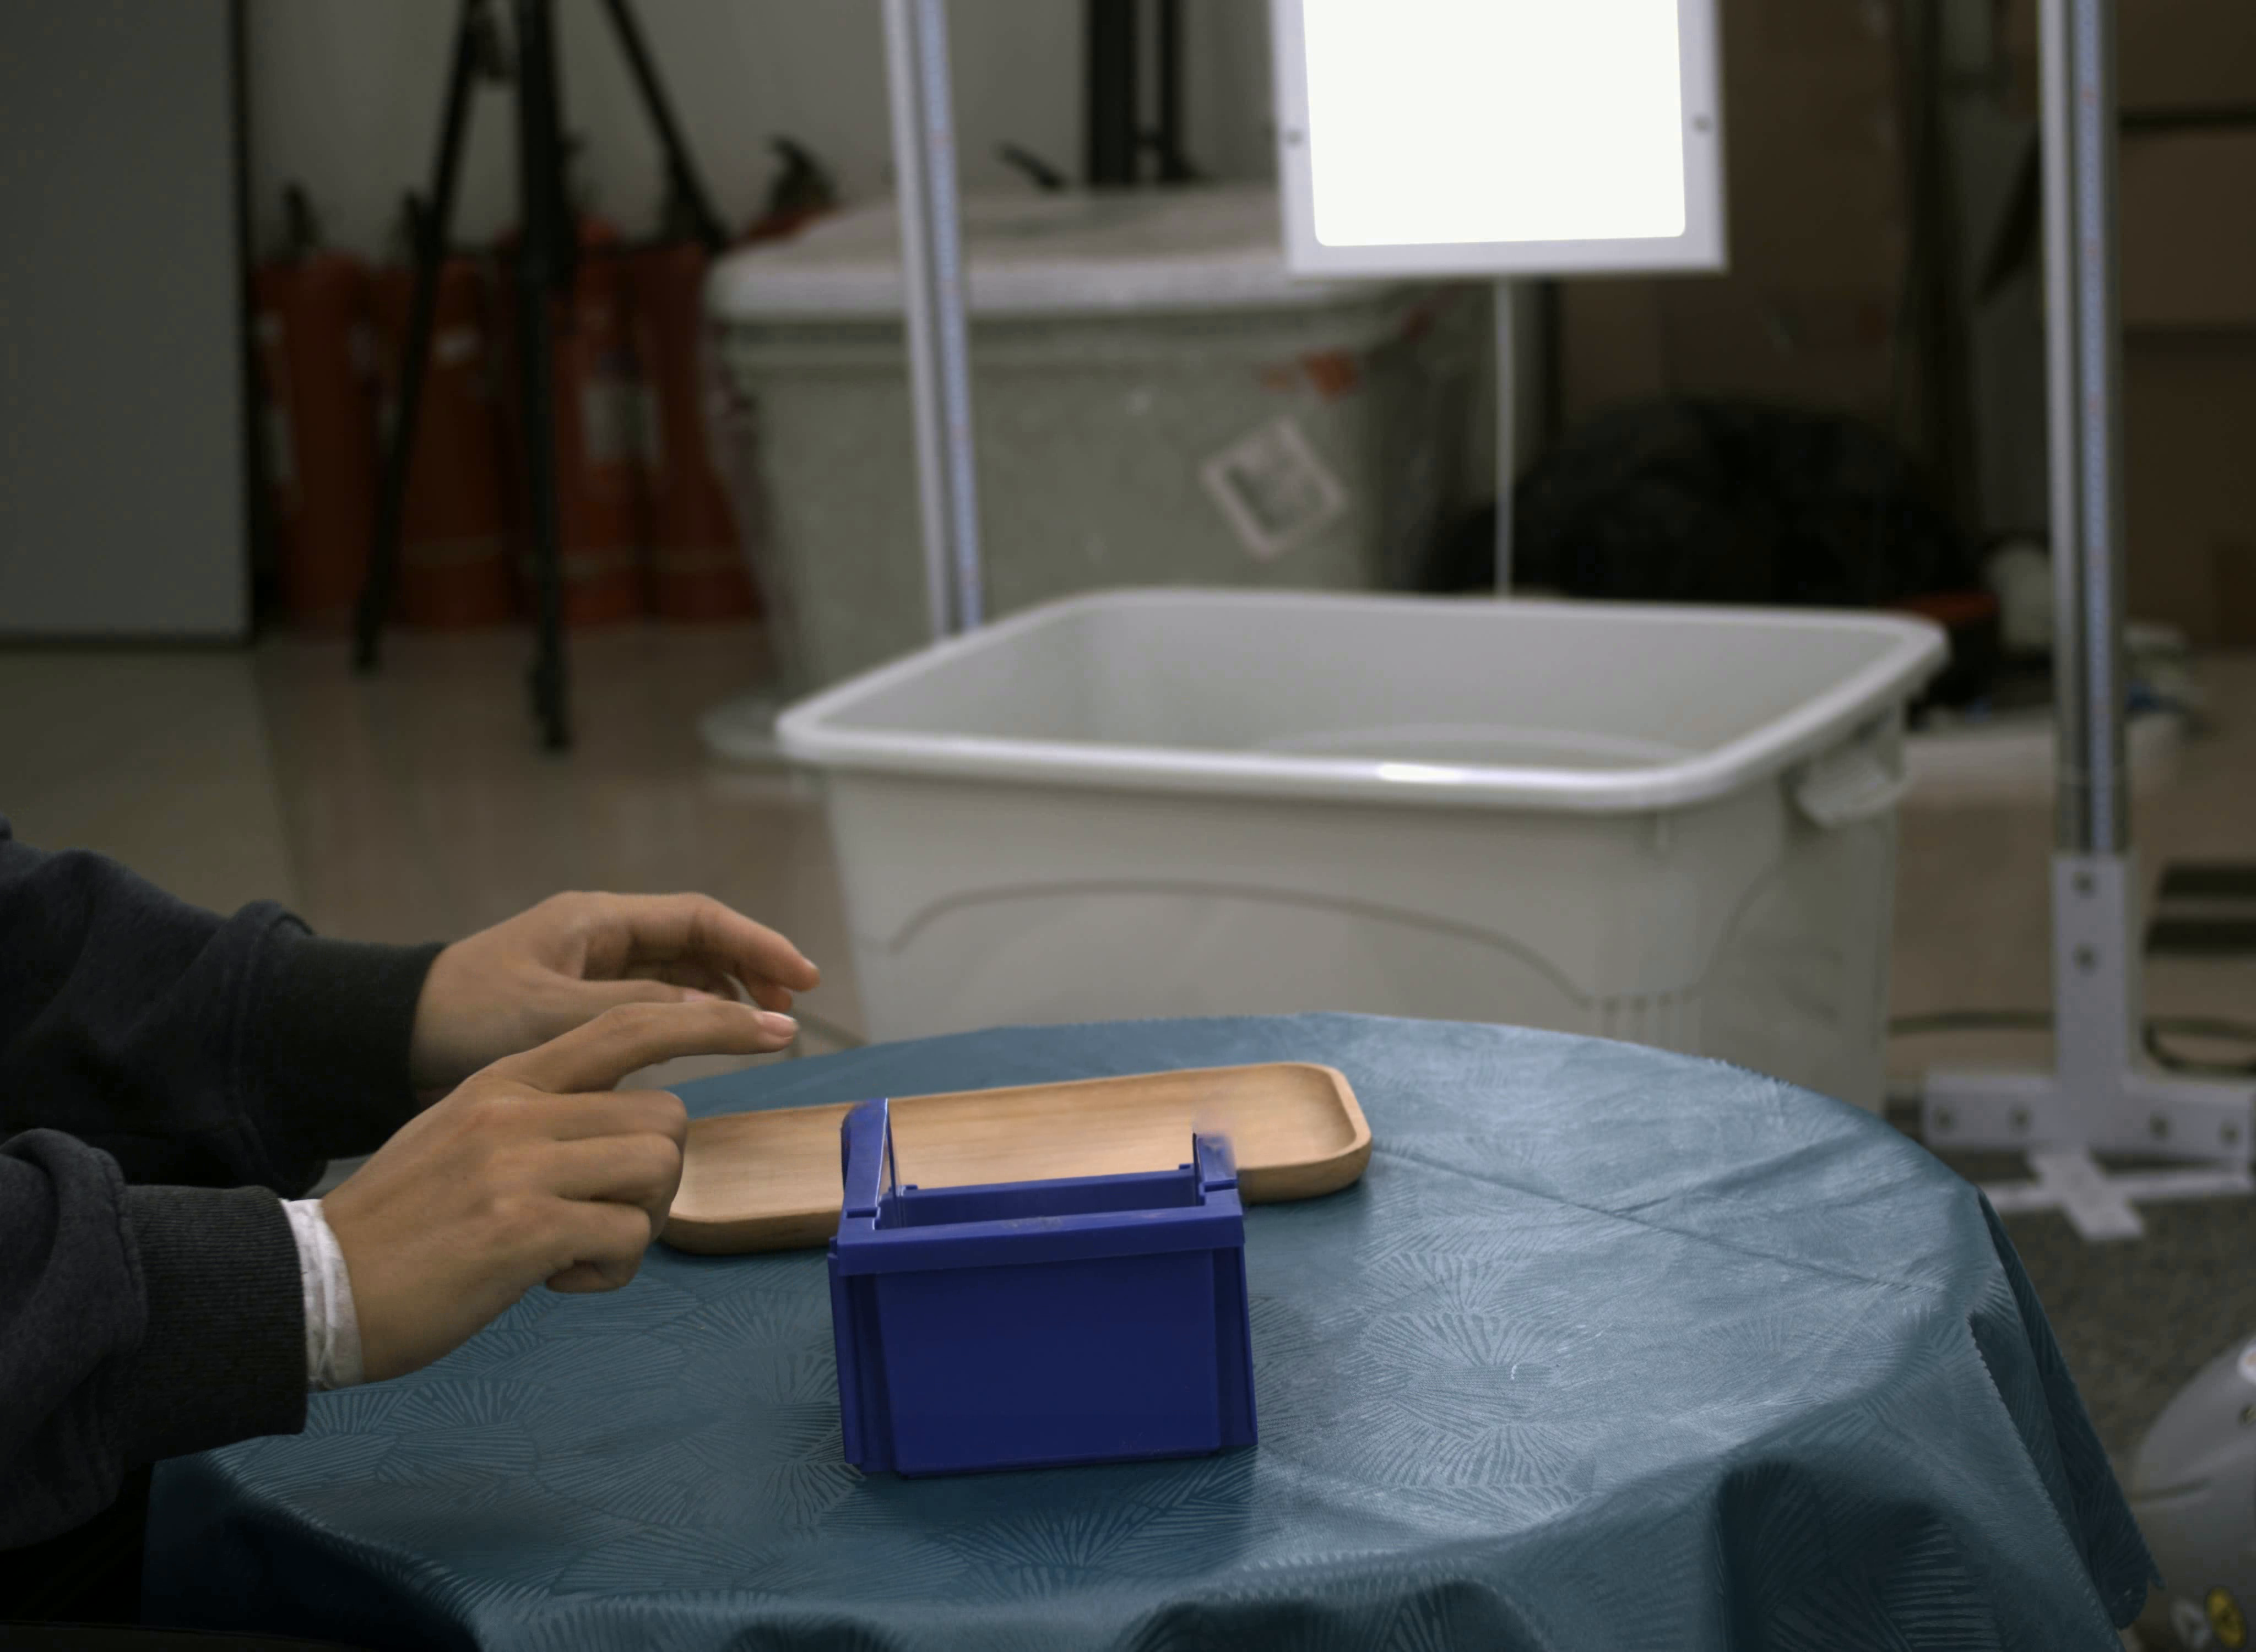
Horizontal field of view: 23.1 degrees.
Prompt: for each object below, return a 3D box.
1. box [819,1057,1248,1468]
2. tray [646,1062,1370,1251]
[{"bbox_3d":[-0.027,0.131,1.714,0.124,0.082,0.178,-4,17,3],"label":"box"},{"bbox_3d":[-0.043,0.115,1.923,0.250,0.023,0.130,-6,11,-1],"label":"tray"}]
